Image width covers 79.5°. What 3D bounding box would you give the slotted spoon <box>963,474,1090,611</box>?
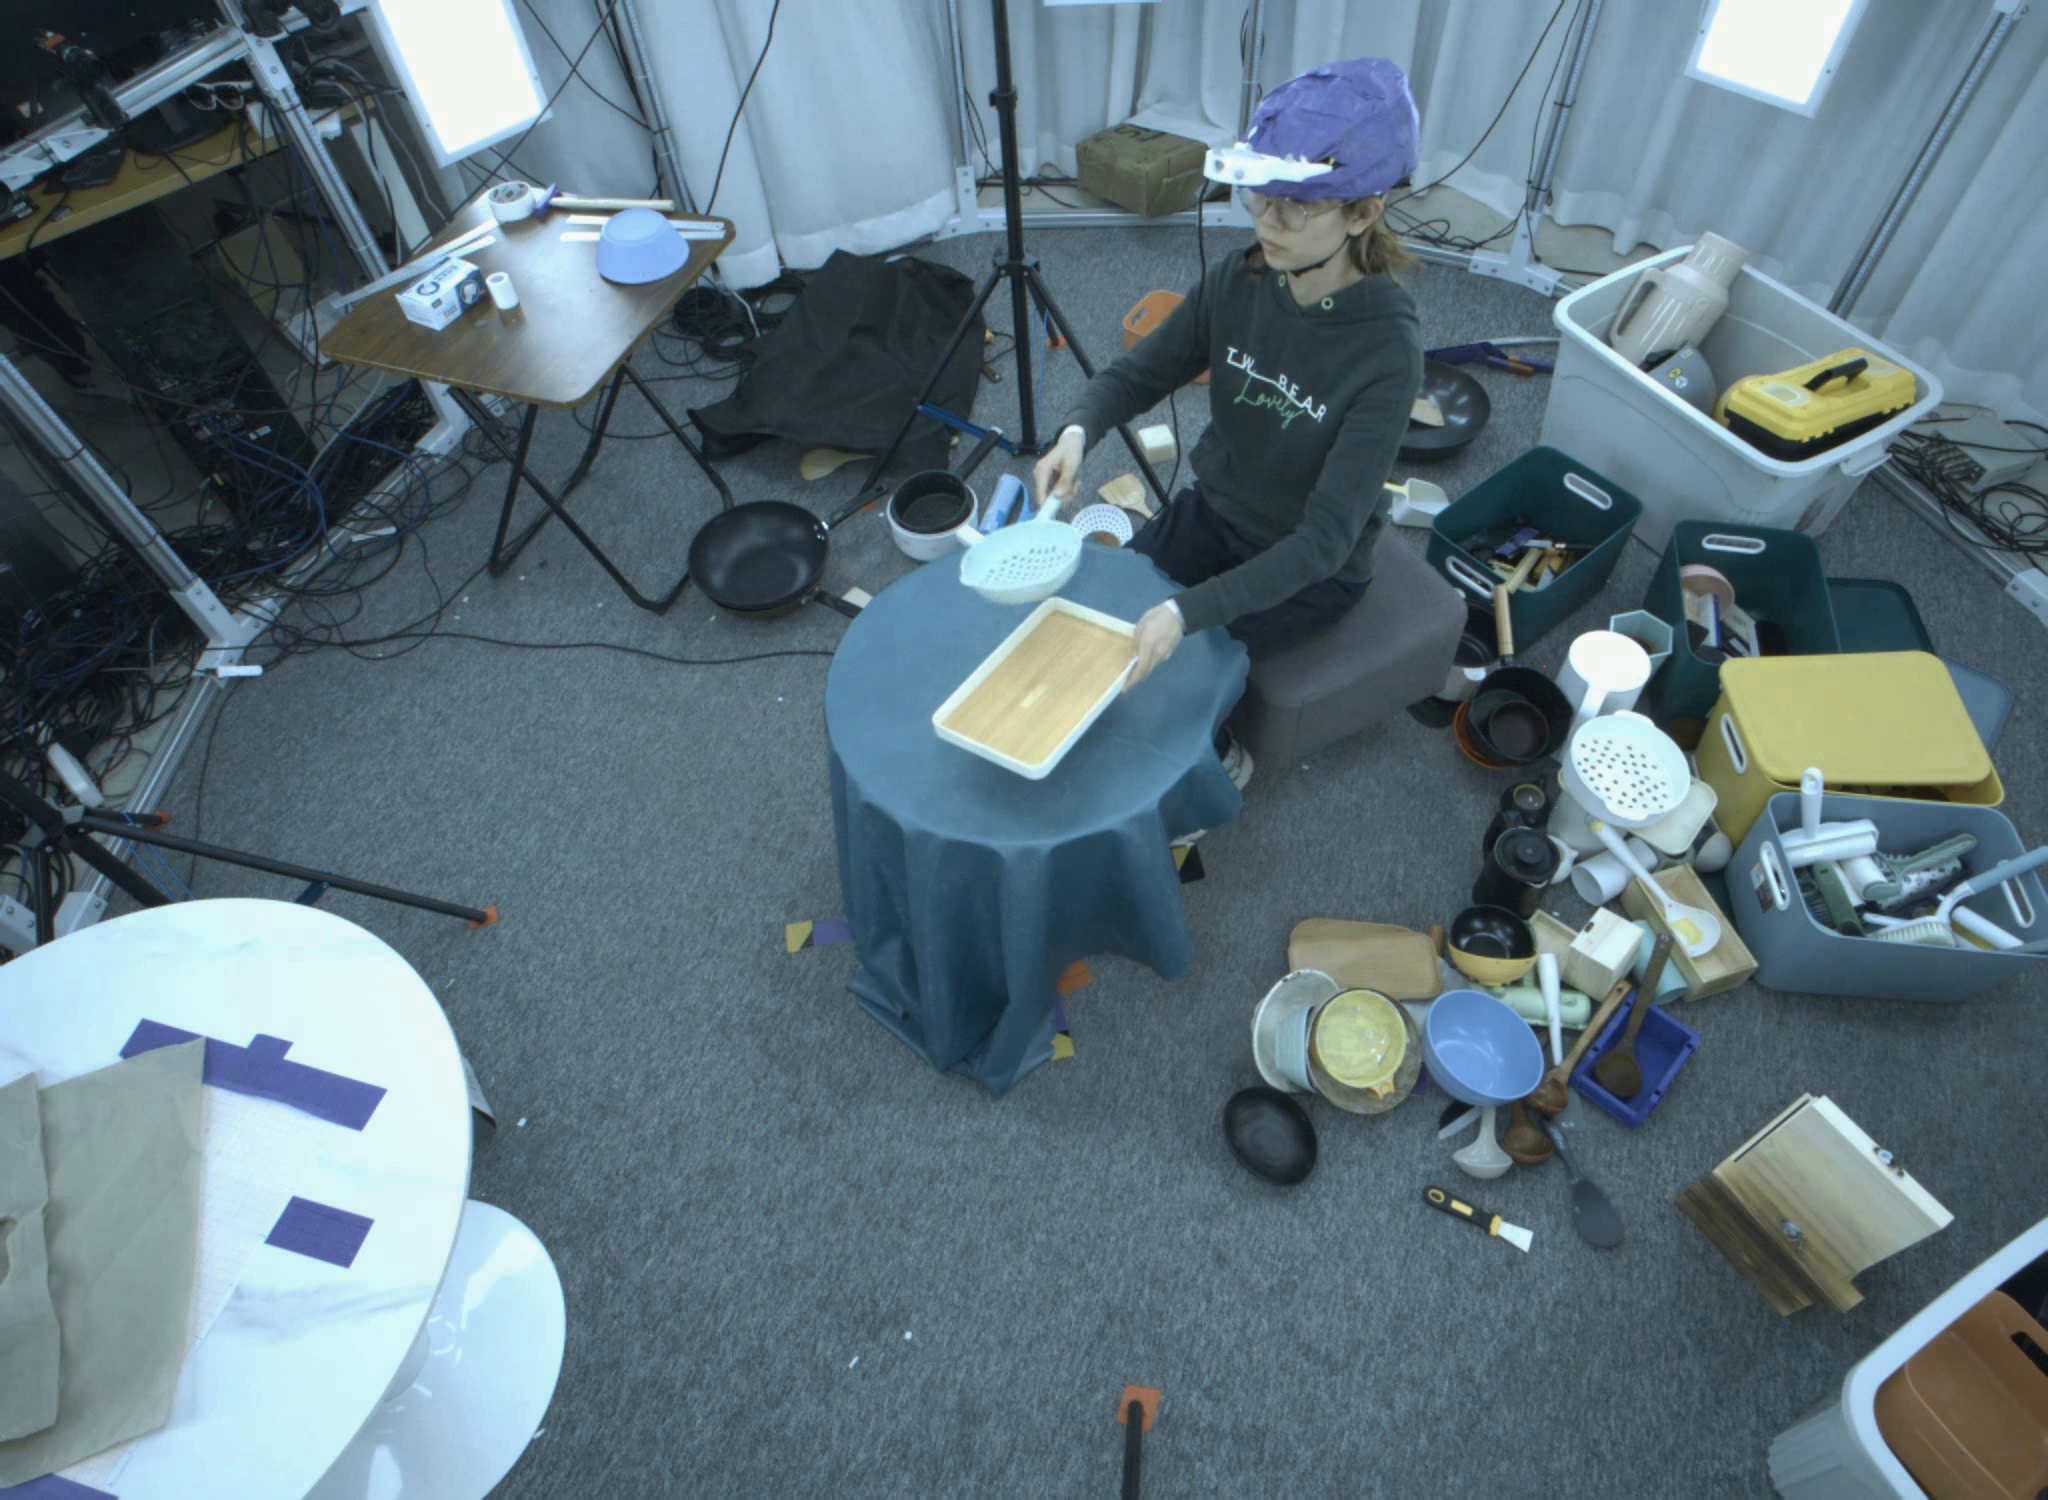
[{"bbox_3d":[0.033,-0.312,1.743,0.167,0.076,0.358,2,49,22],"label":"slotted spoon"}]

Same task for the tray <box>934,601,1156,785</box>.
[{"bbox_3d":[0.033,-0.087,1.725,0.188,0.028,0.302,25,57,27],"label":"tray"}]
